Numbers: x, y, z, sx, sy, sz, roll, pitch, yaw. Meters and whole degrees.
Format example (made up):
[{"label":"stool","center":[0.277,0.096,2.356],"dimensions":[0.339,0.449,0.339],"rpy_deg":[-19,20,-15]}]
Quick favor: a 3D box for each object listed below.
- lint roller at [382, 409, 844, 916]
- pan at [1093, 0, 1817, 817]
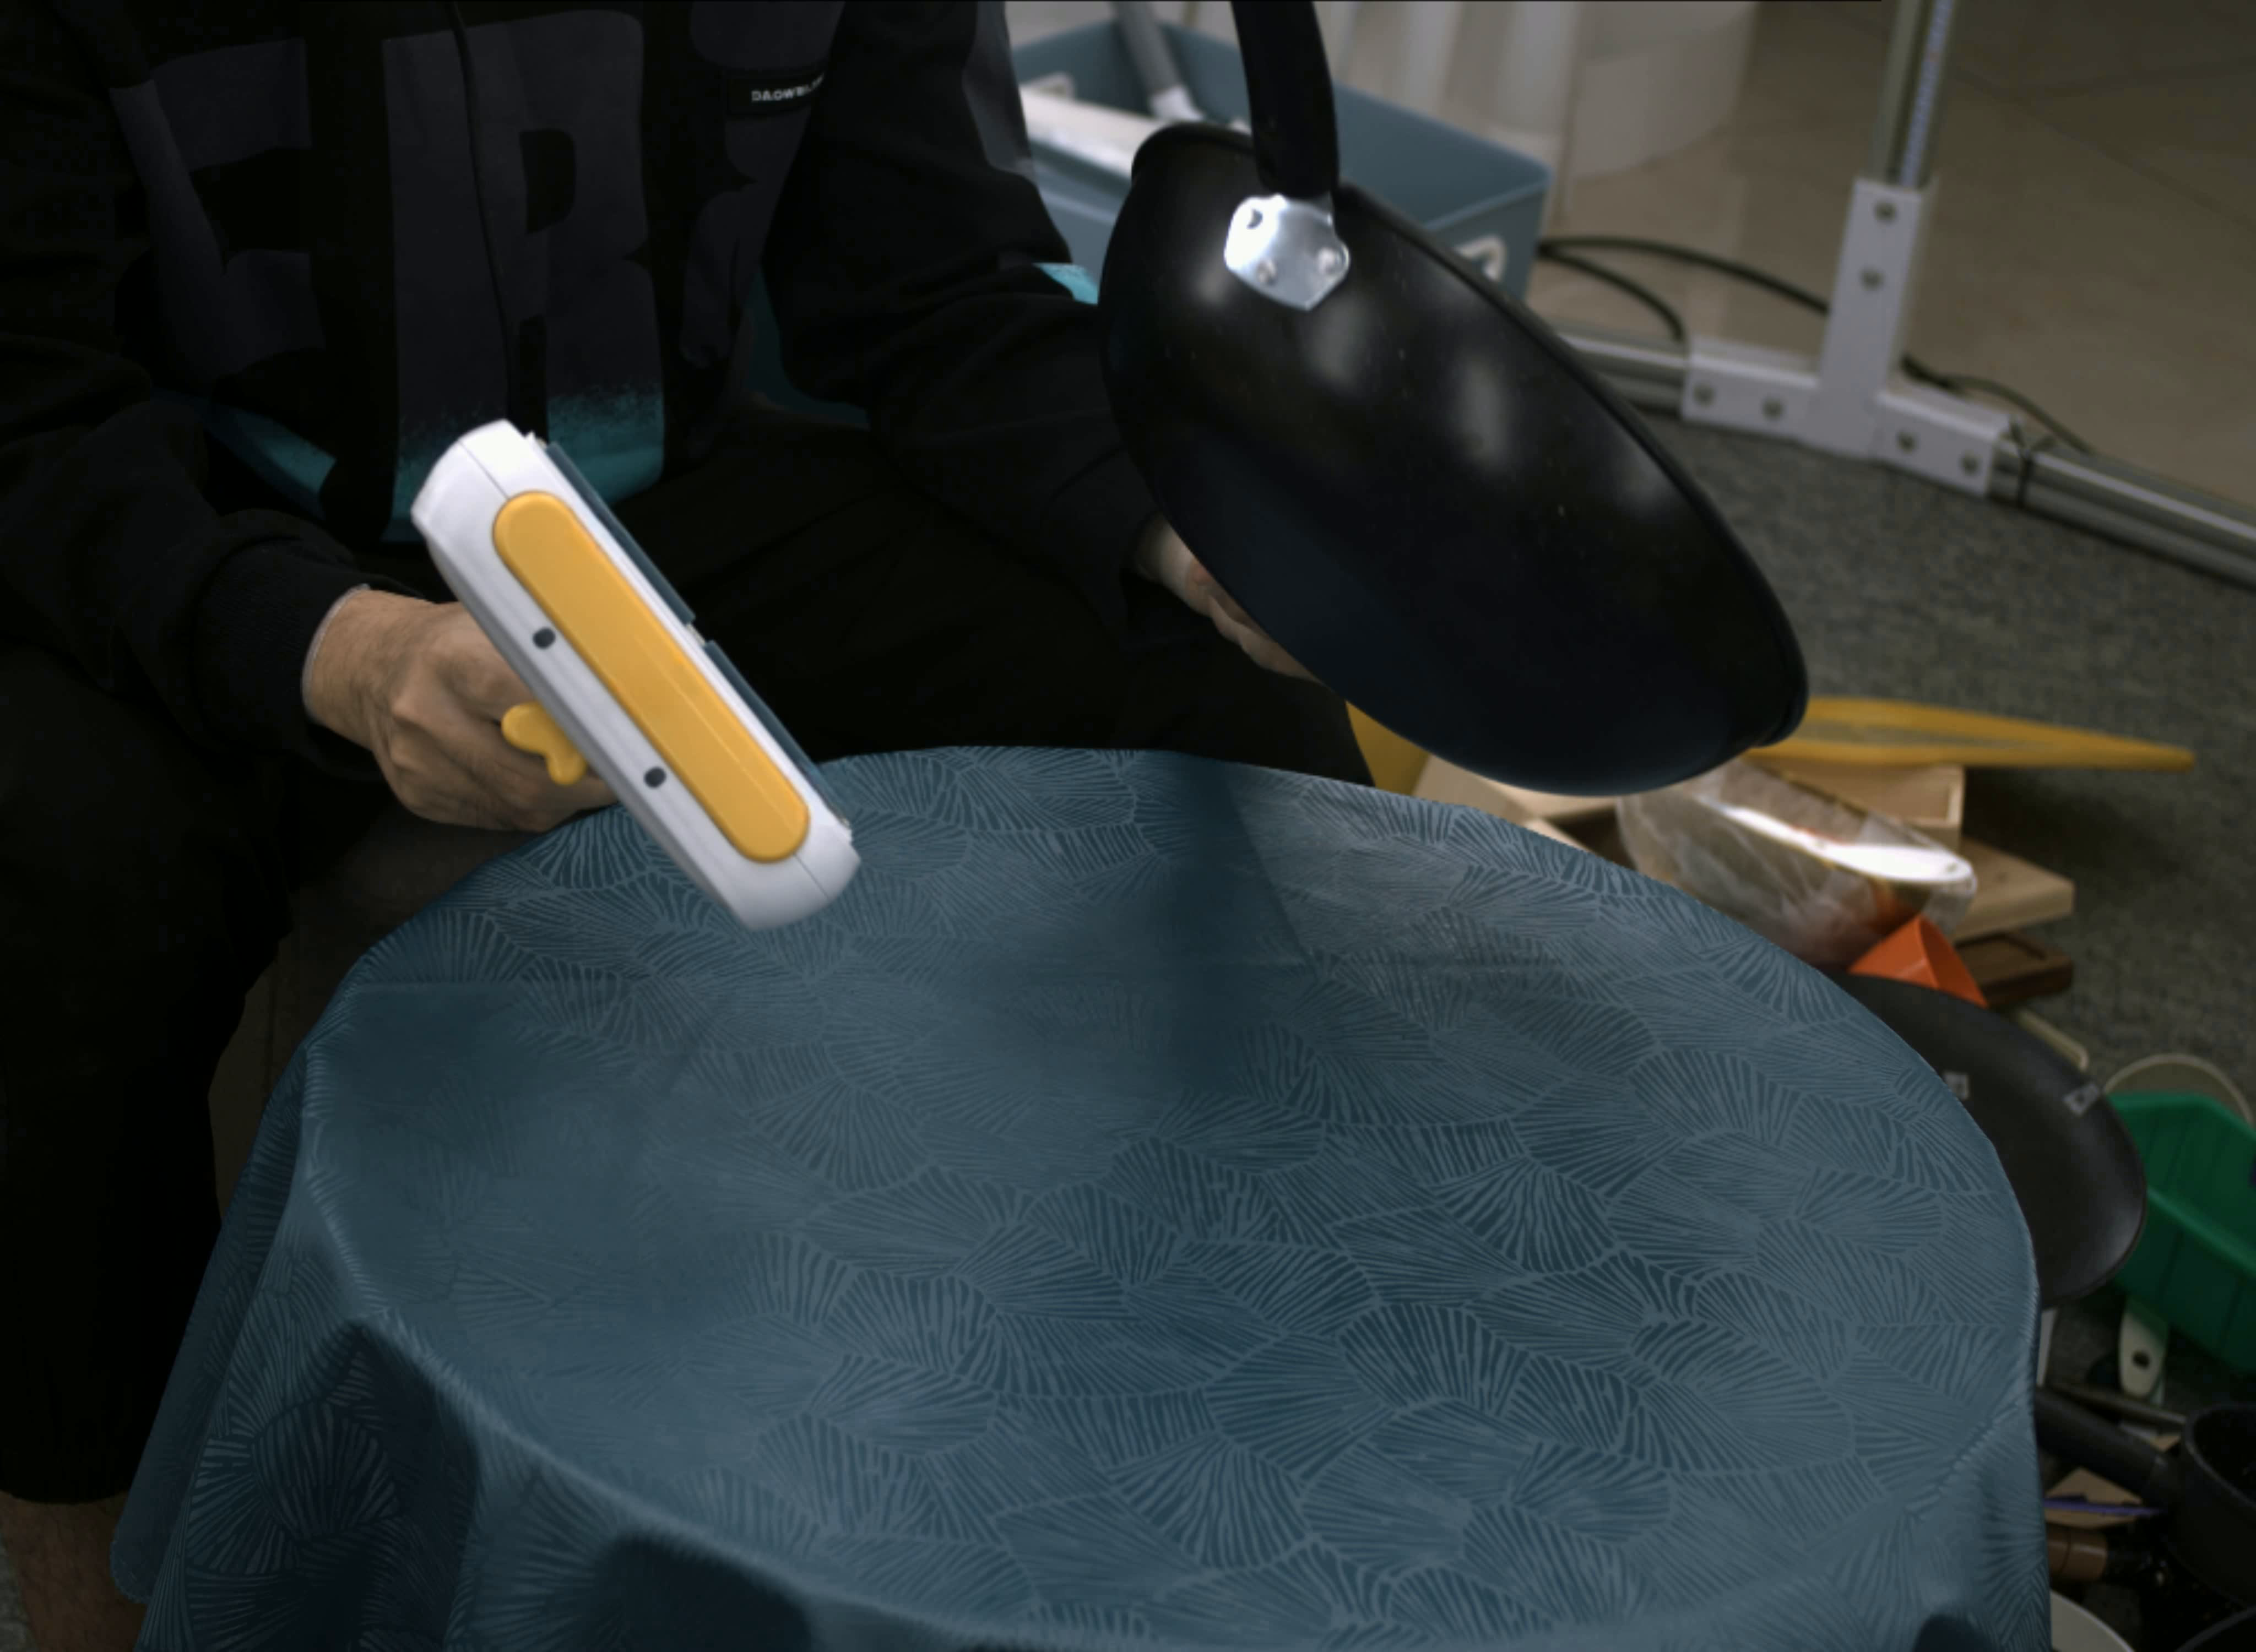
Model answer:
[{"label":"lint roller","center":[-0.184,-0.043,1.786],"dimensions":[0.074,0.192,0.193],"rpy_deg":[-45,6,-12]},{"label":"pan","center":[0.073,-0.153,1.807],"dimensions":[0.313,0.472,0.112],"rpy_deg":[32,75,36]}]
